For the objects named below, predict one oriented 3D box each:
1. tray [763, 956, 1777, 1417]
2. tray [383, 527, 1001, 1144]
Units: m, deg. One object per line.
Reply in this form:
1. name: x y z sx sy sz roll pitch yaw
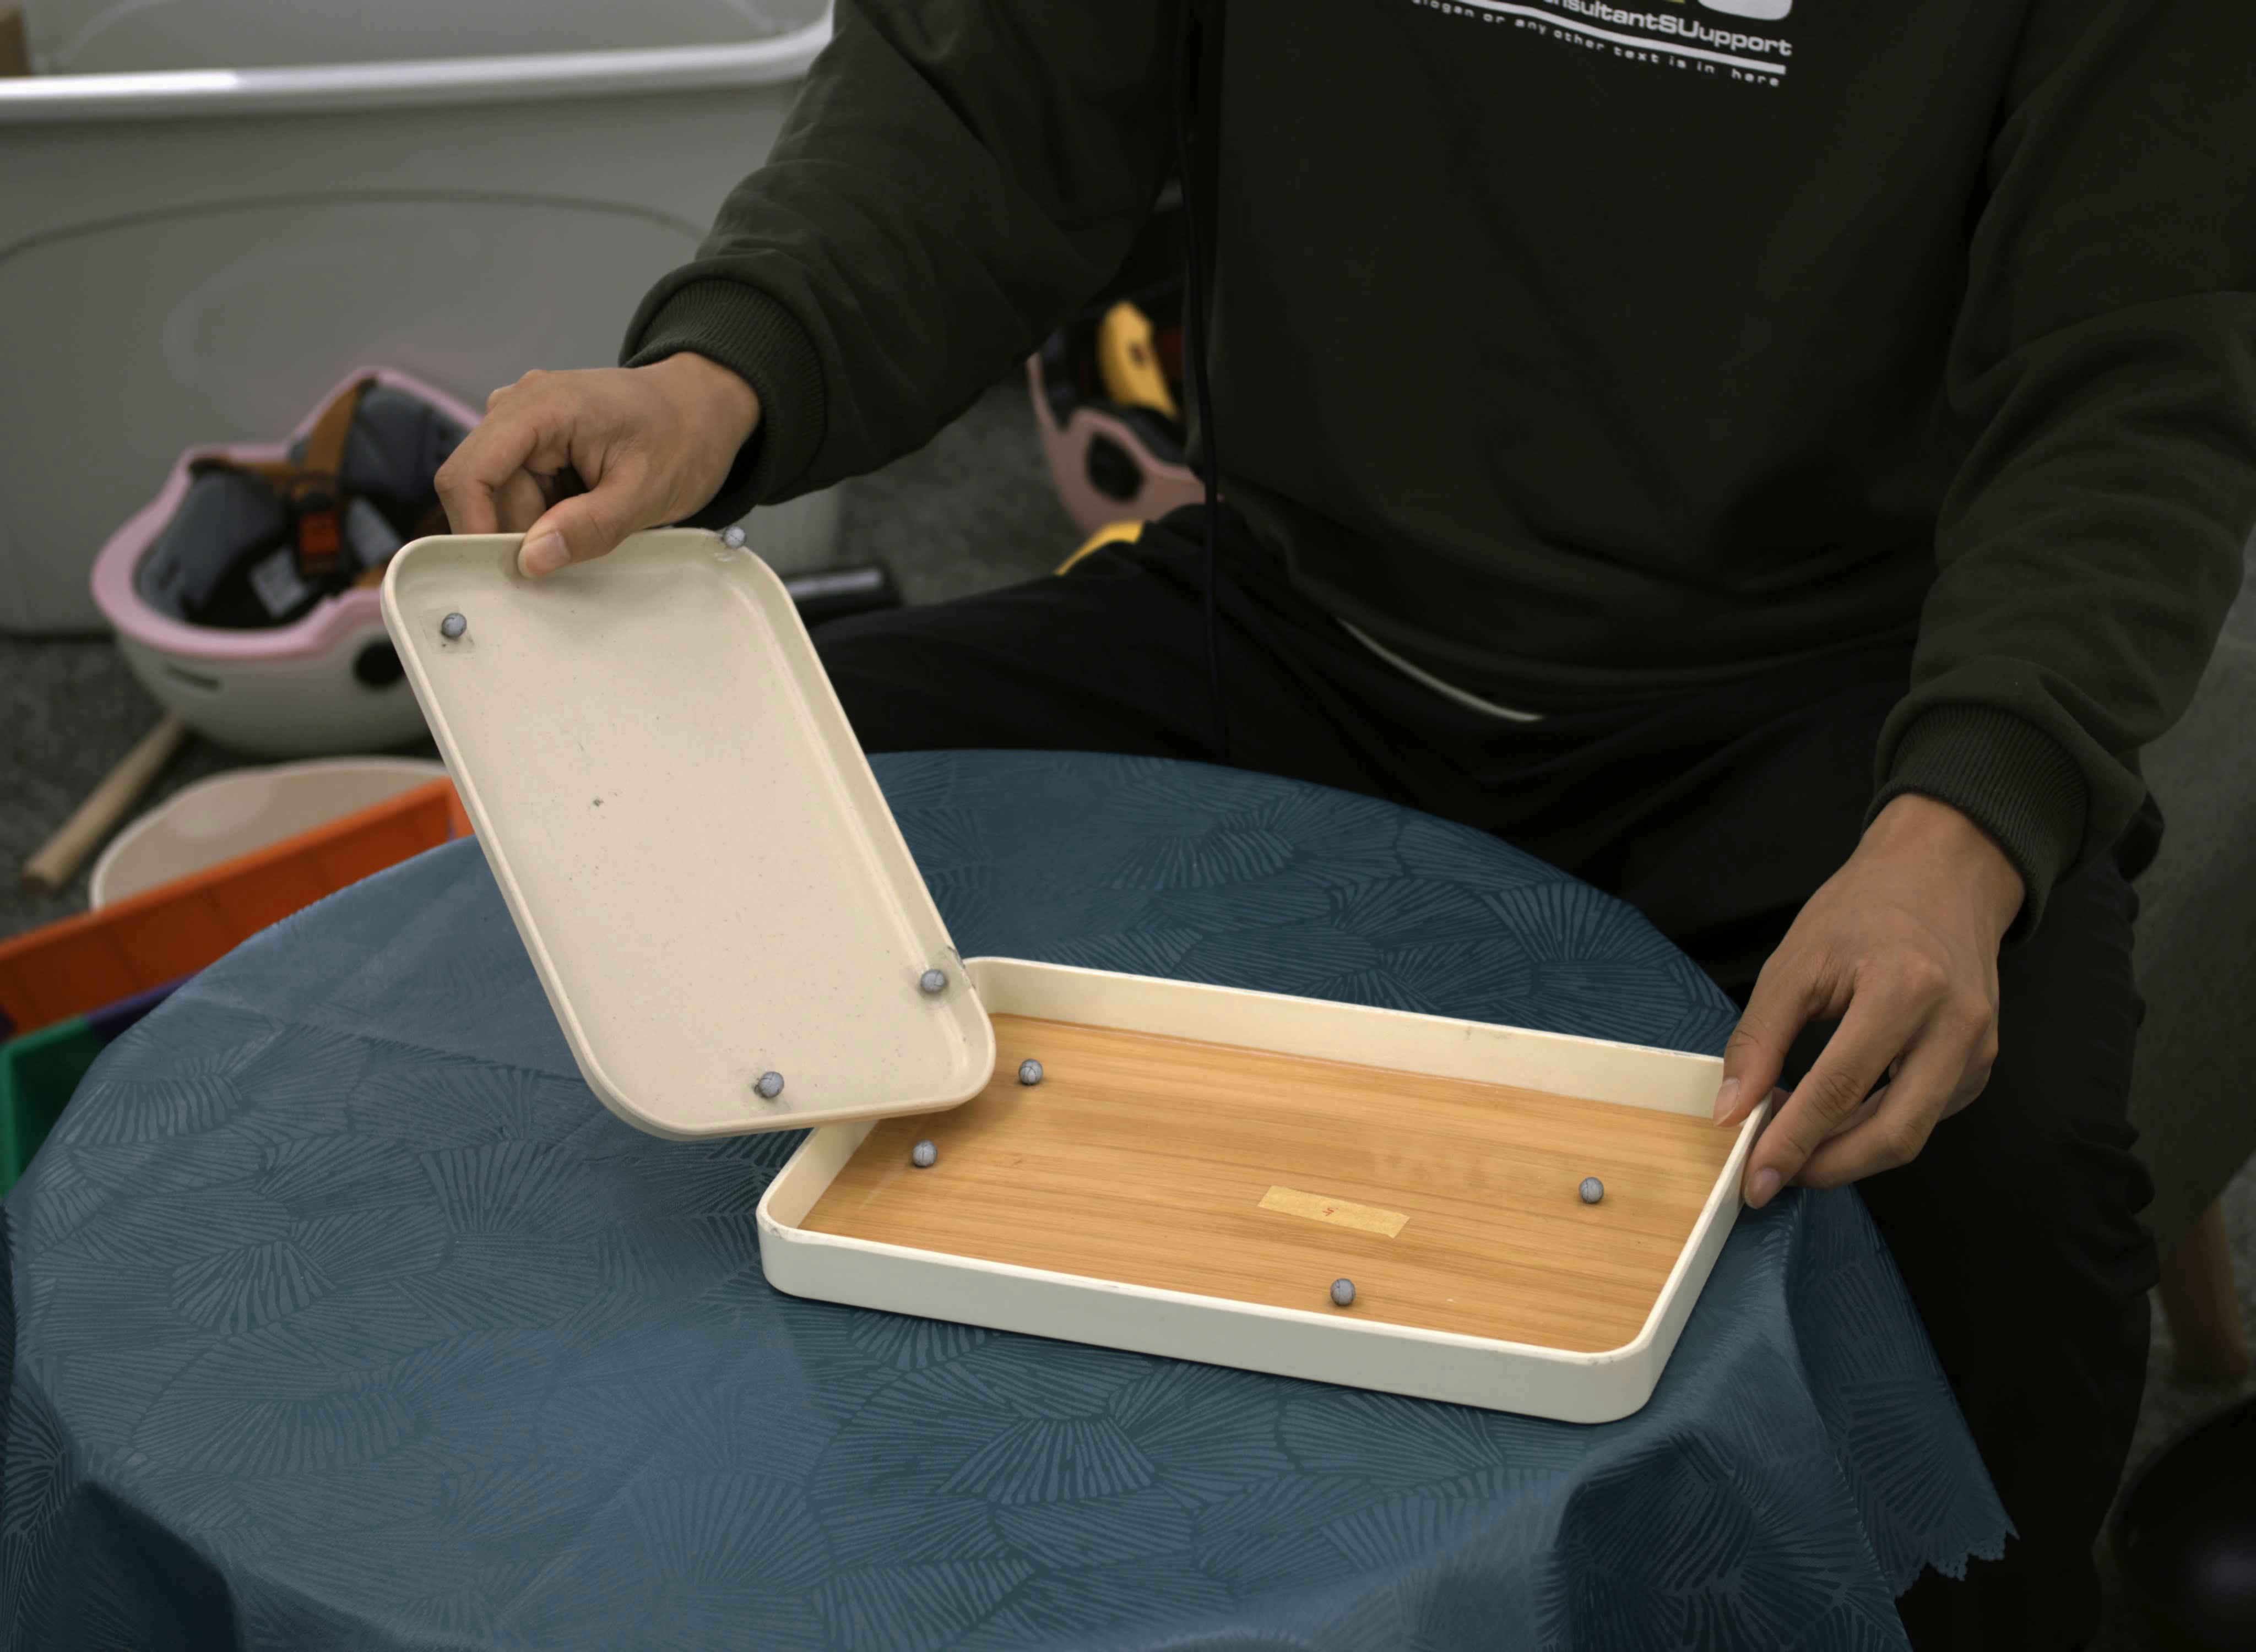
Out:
1. tray: 0.048 0.115 1.846 0.298 0.027 0.195 7 29 18
2. tray: -0.149 0.002 1.898 0.172 0.017 0.242 -4 58 -42
